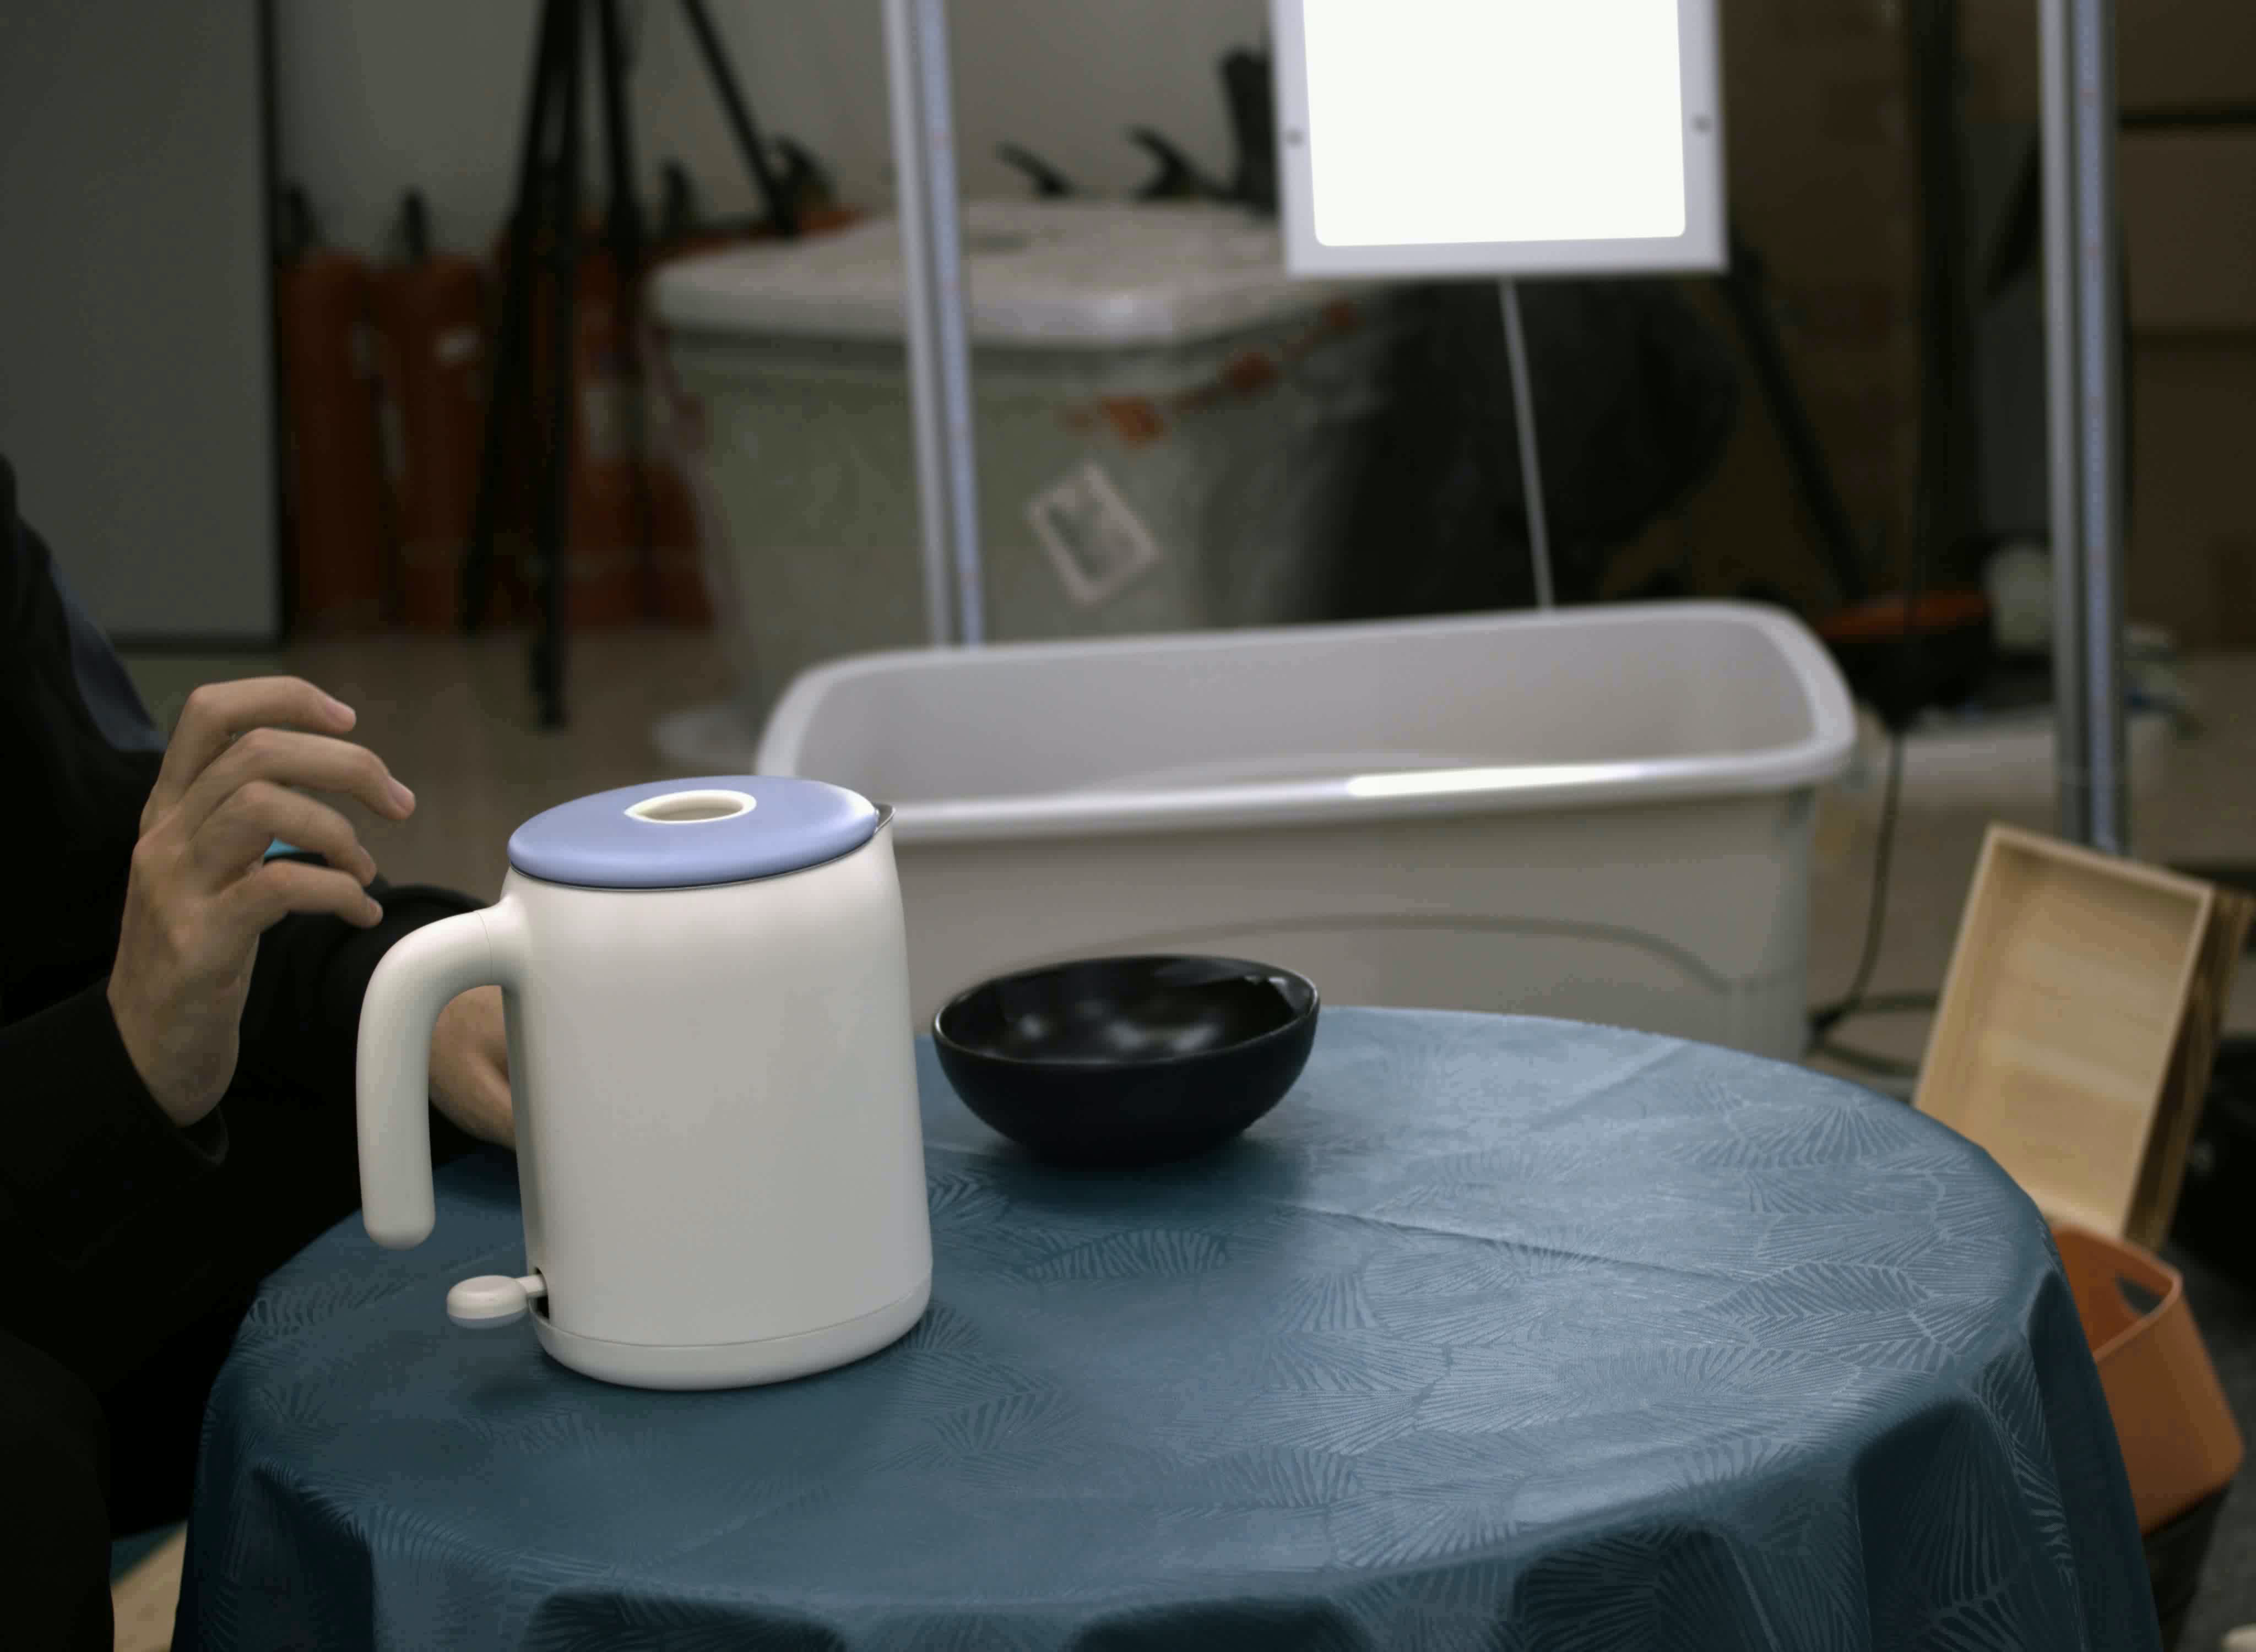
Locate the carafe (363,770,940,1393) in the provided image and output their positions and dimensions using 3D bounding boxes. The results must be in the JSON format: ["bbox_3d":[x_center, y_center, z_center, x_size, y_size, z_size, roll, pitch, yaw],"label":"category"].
[{"bbox_3d":[-0.154,0.086,1.760,0.187,0.183,0.134,-13,15,-22],"label":"carafe"}]

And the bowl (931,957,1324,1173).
[{"bbox_3d":[0.002,0.089,1.949,0.140,0.050,0.140,-7,14,0],"label":"bowl"}]
